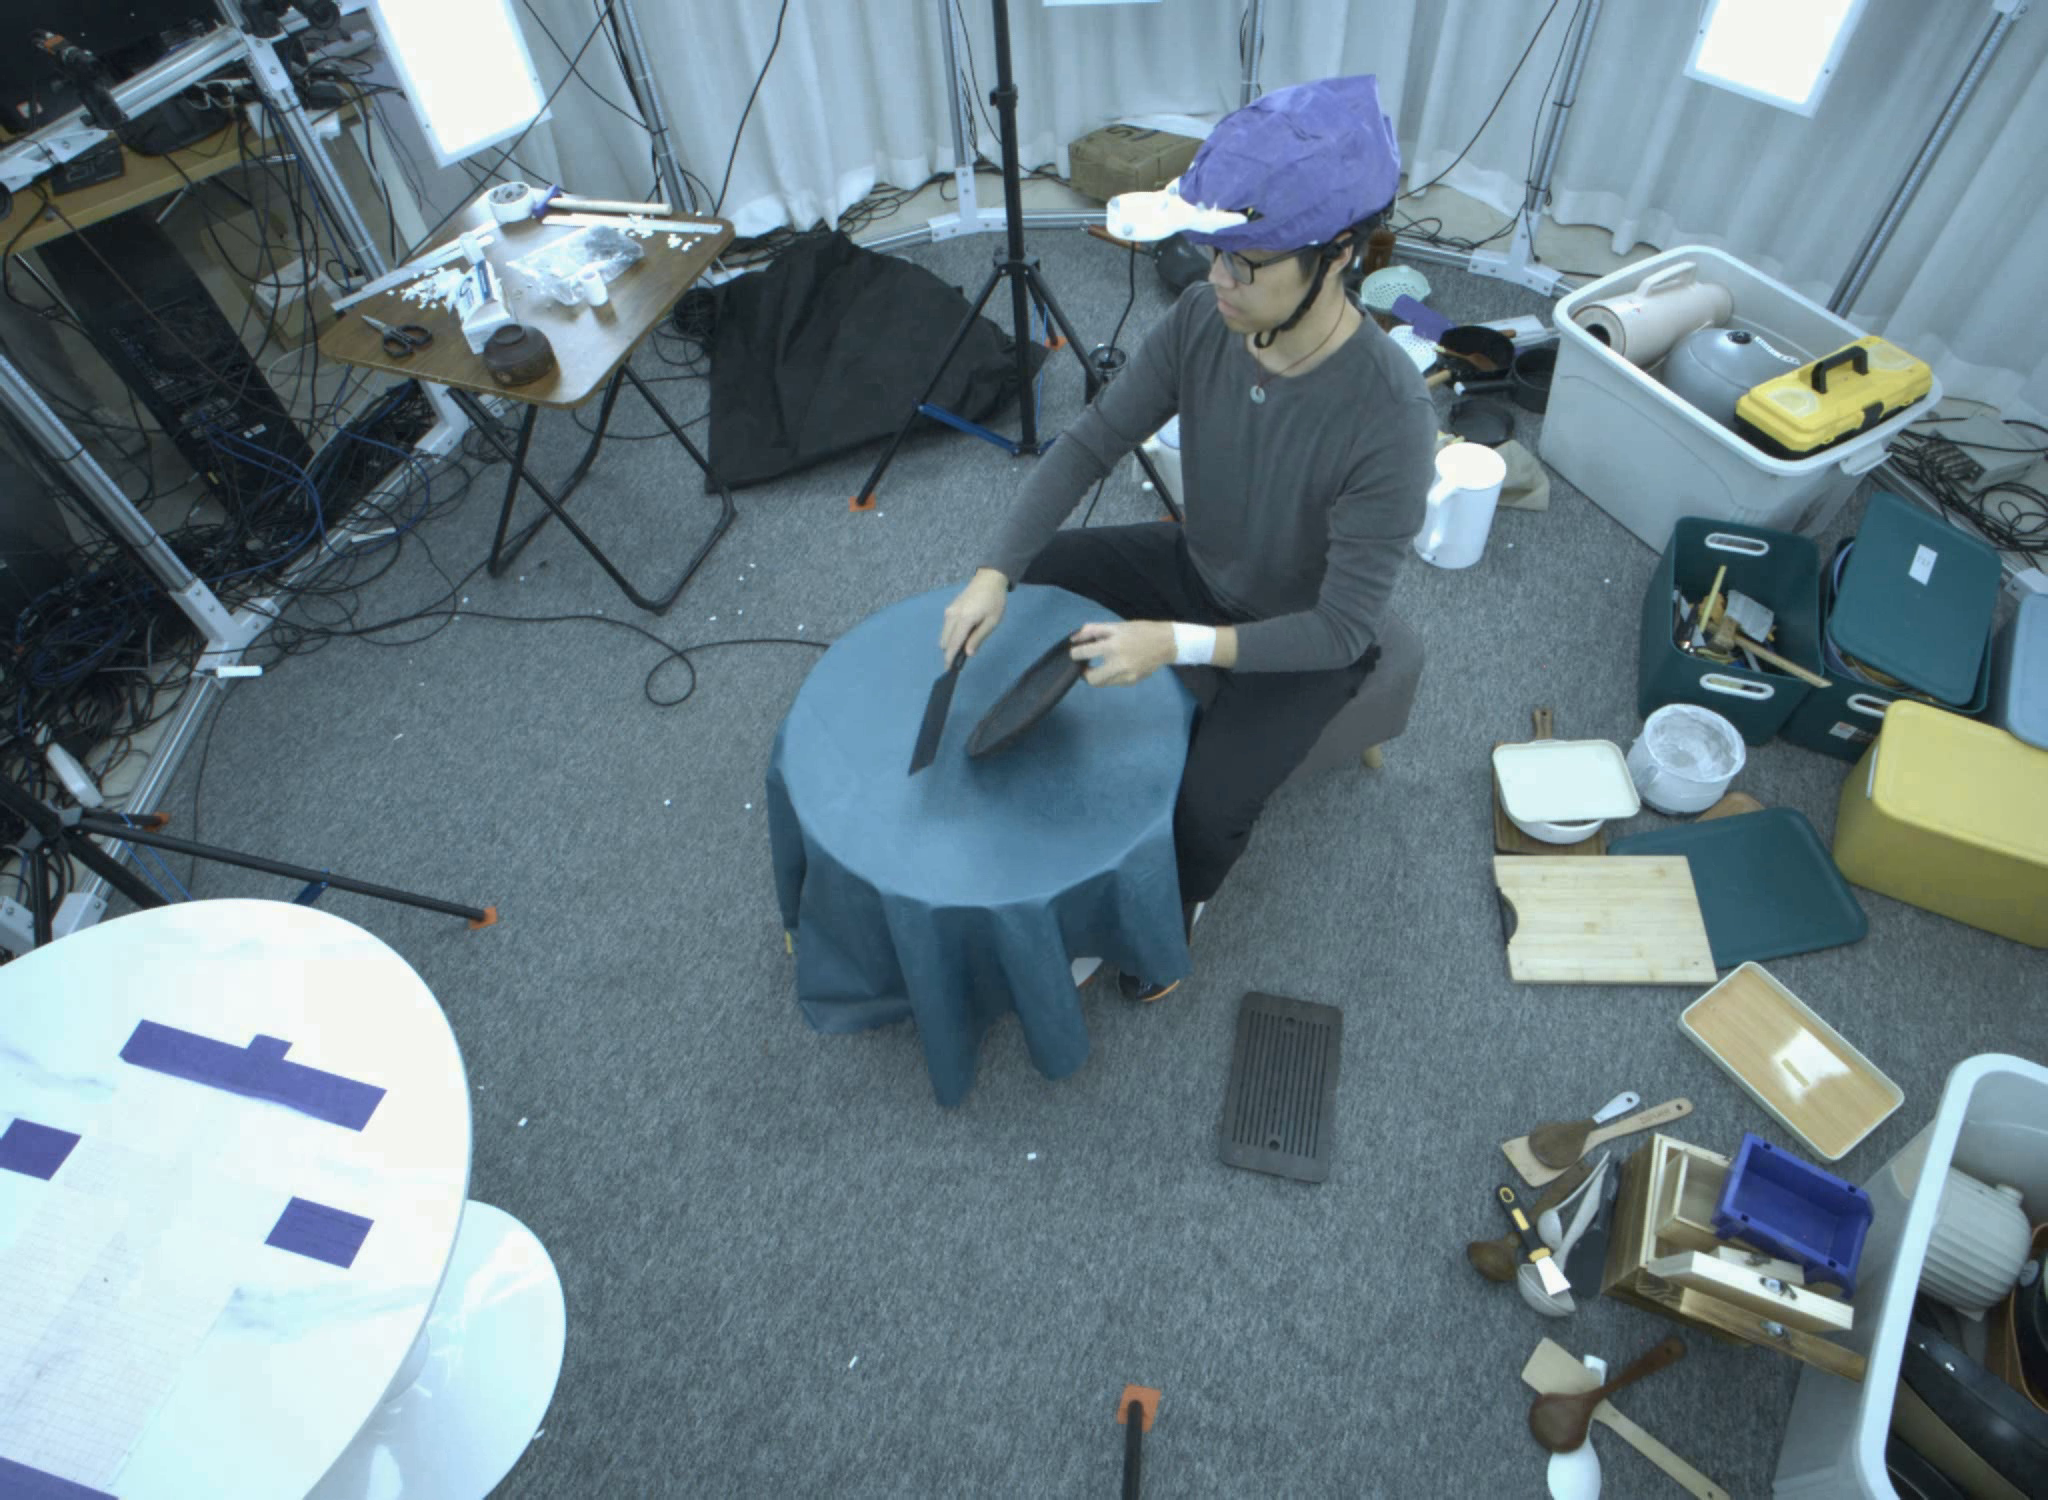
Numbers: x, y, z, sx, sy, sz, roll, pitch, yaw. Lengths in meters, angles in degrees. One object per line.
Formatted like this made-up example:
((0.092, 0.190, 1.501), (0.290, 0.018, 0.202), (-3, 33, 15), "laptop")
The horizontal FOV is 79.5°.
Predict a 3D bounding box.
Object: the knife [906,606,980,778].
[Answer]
((-0.114, -0.090, 1.766), (0.021, 0.079, 0.301), (34, 55, -28), "knife")

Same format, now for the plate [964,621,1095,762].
((0.009, -0.079, 1.730), (0.029, 0.251, 0.255), (42, 60, -12), "plate")
